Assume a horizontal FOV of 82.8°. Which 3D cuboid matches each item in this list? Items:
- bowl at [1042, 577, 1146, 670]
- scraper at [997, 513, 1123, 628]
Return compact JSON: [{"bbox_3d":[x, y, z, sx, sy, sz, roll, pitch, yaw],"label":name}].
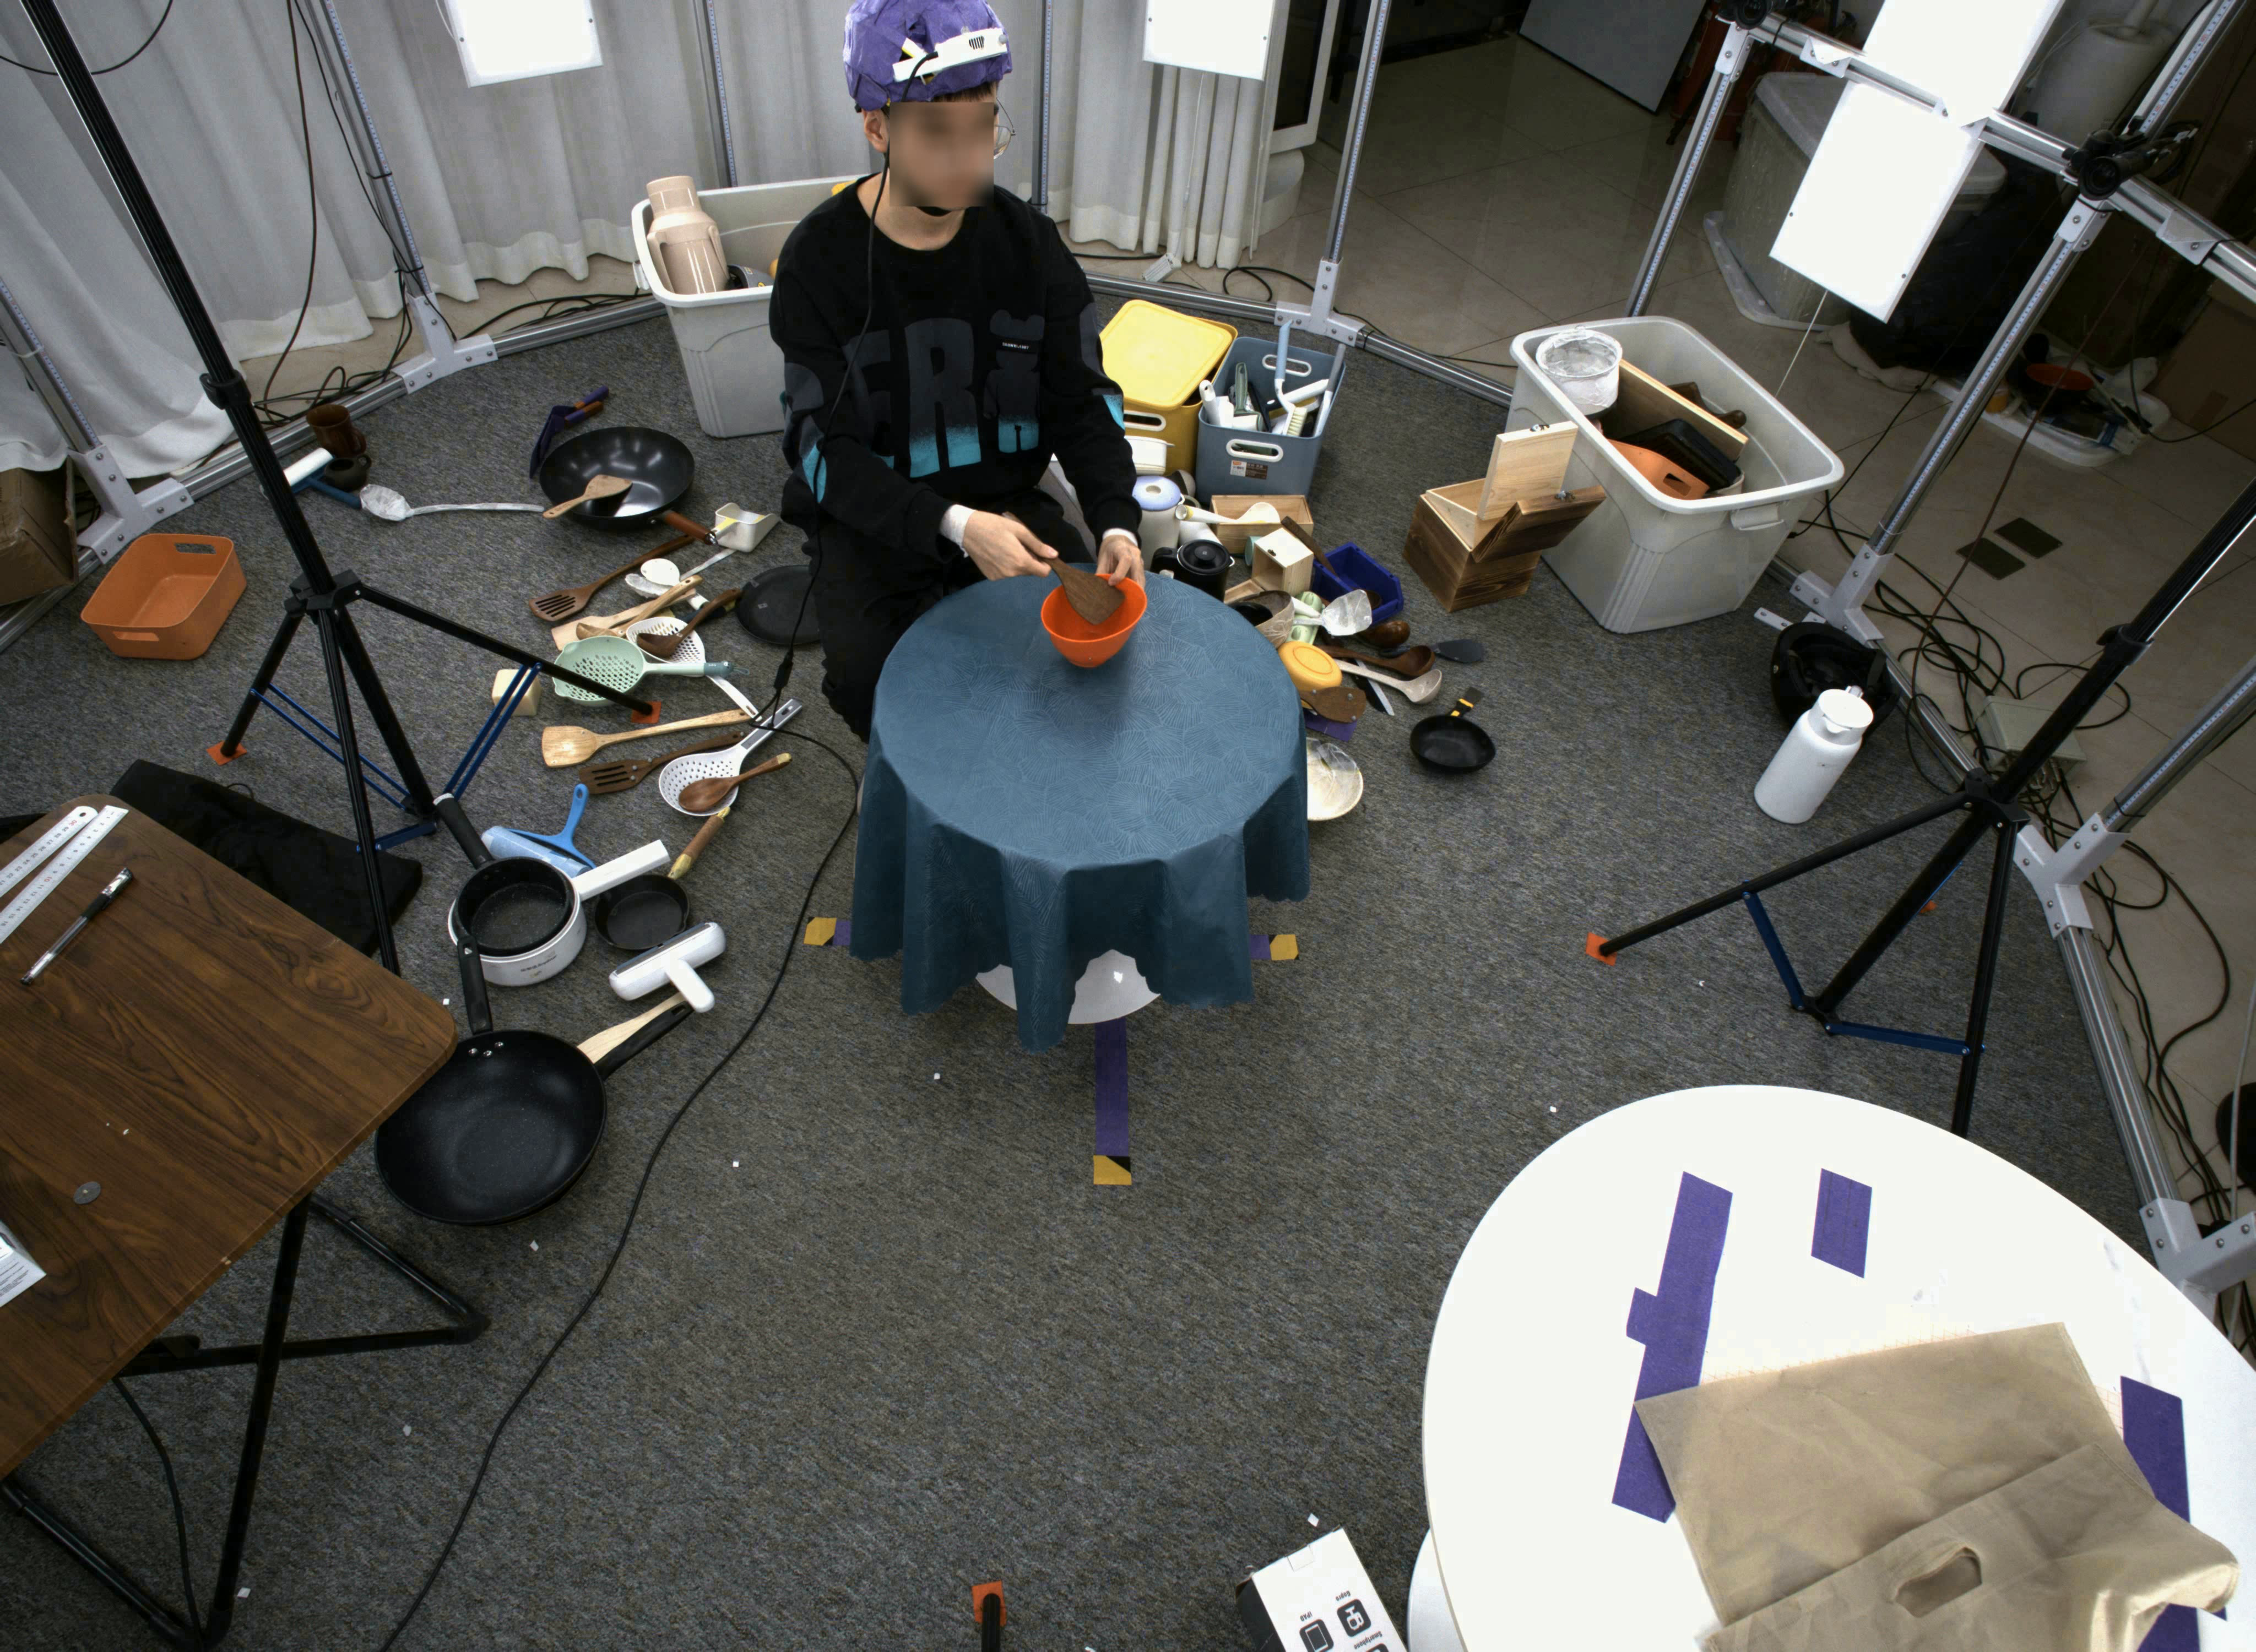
[{"bbox_3d":[-0.047,-0.277,1.831,0.148,0.102,0.151,-2,51,2],"label":"bowl"},{"bbox_3d":[-0.102,-0.369,1.835,0.211,0.010,0.077,42,63,1],"label":"scraper"}]
